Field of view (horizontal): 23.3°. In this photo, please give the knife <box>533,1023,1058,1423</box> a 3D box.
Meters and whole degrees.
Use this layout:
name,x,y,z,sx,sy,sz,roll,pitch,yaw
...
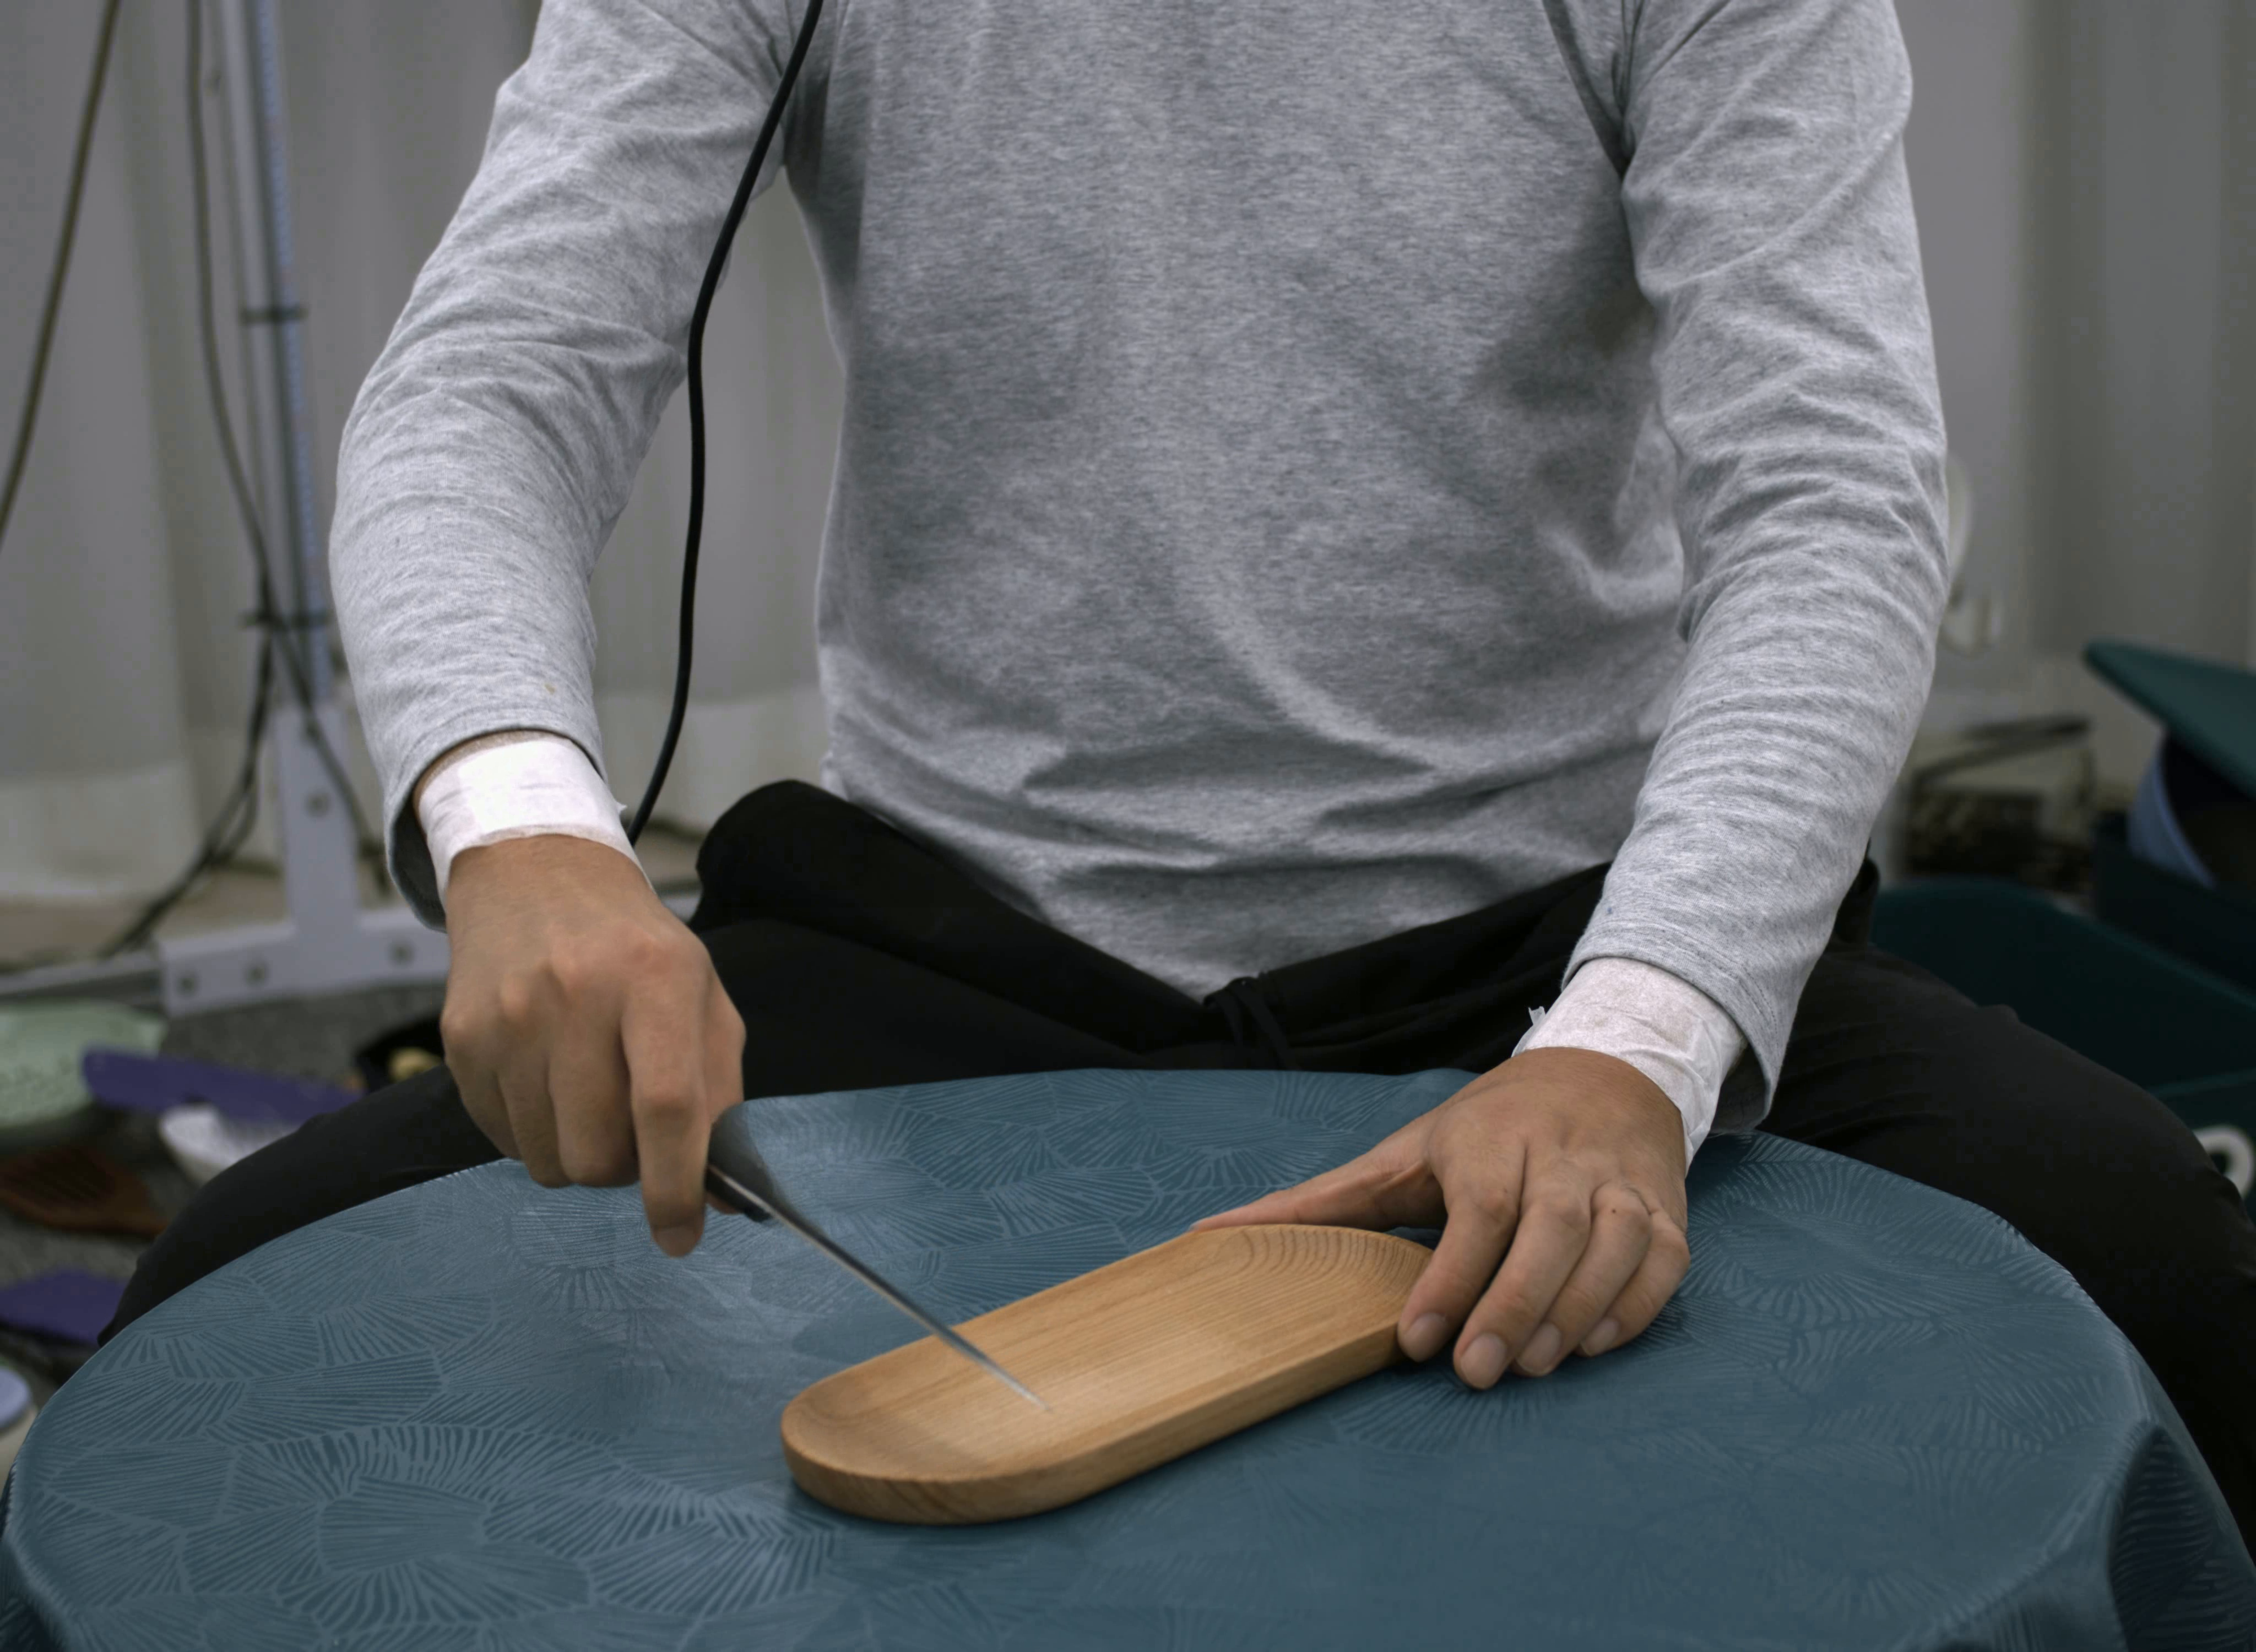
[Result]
name,x,y,z,sx,sy,sz,roll,pitch,yaw
knife,-0.096,0.109,1.524,0.240,0.016,0.024,32,2,42

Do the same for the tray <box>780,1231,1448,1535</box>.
name,x,y,z,sx,sy,sz,roll,pitch,yaw
tray,-0.001,0.155,1.537,0.102,0.020,0.231,8,20,41
